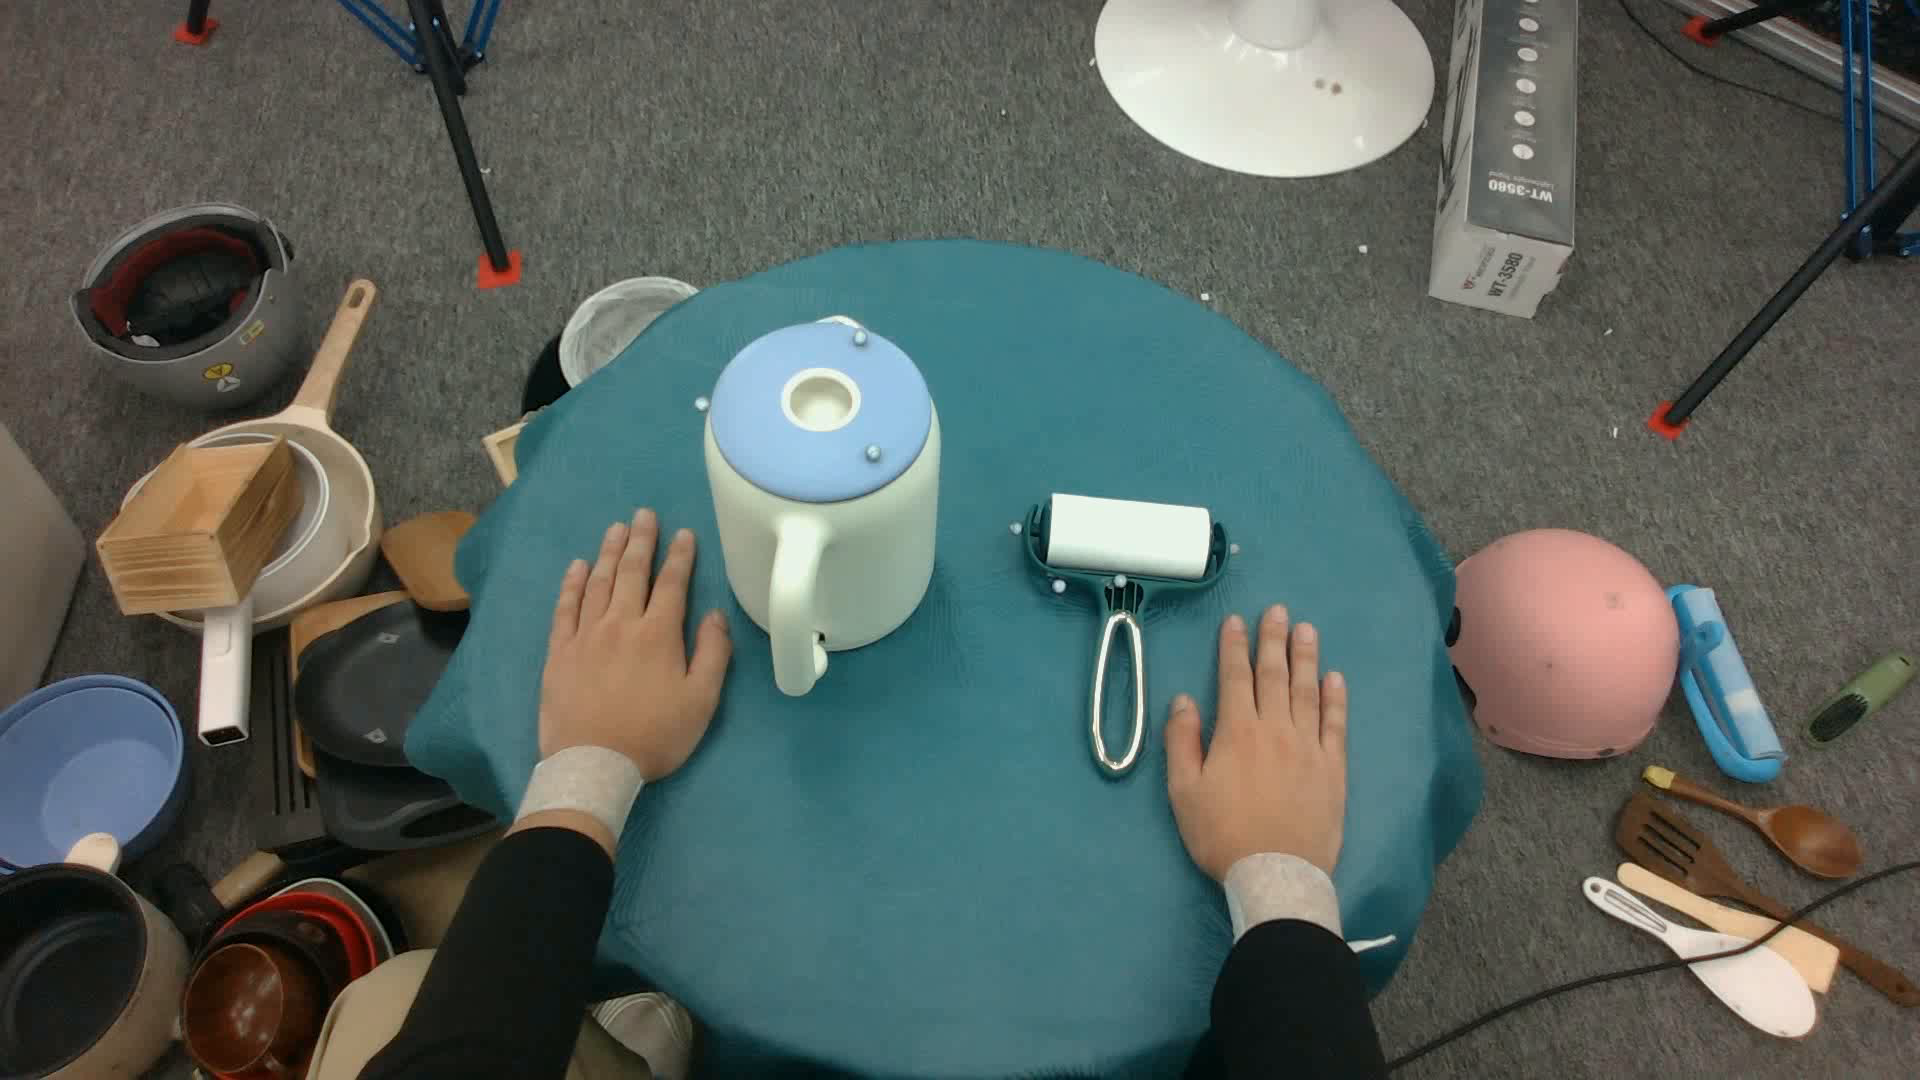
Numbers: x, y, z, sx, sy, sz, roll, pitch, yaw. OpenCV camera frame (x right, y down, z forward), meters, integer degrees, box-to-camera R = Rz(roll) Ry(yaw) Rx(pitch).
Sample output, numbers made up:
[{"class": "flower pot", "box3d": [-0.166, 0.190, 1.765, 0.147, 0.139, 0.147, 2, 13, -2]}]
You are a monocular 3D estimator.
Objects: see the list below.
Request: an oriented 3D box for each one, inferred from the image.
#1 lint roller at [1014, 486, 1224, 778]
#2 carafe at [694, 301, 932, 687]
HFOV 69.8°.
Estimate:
[{"class": "lint roller", "box3d": [0.094, 0.052, 0.839, 0.134, 0.048, 0.181, 5, 61, -1]}, {"class": "carafe", "box3d": [-0.086, -0.014, 0.791, 0.132, 0.181, 0.192, 6, 61, 0]}]
